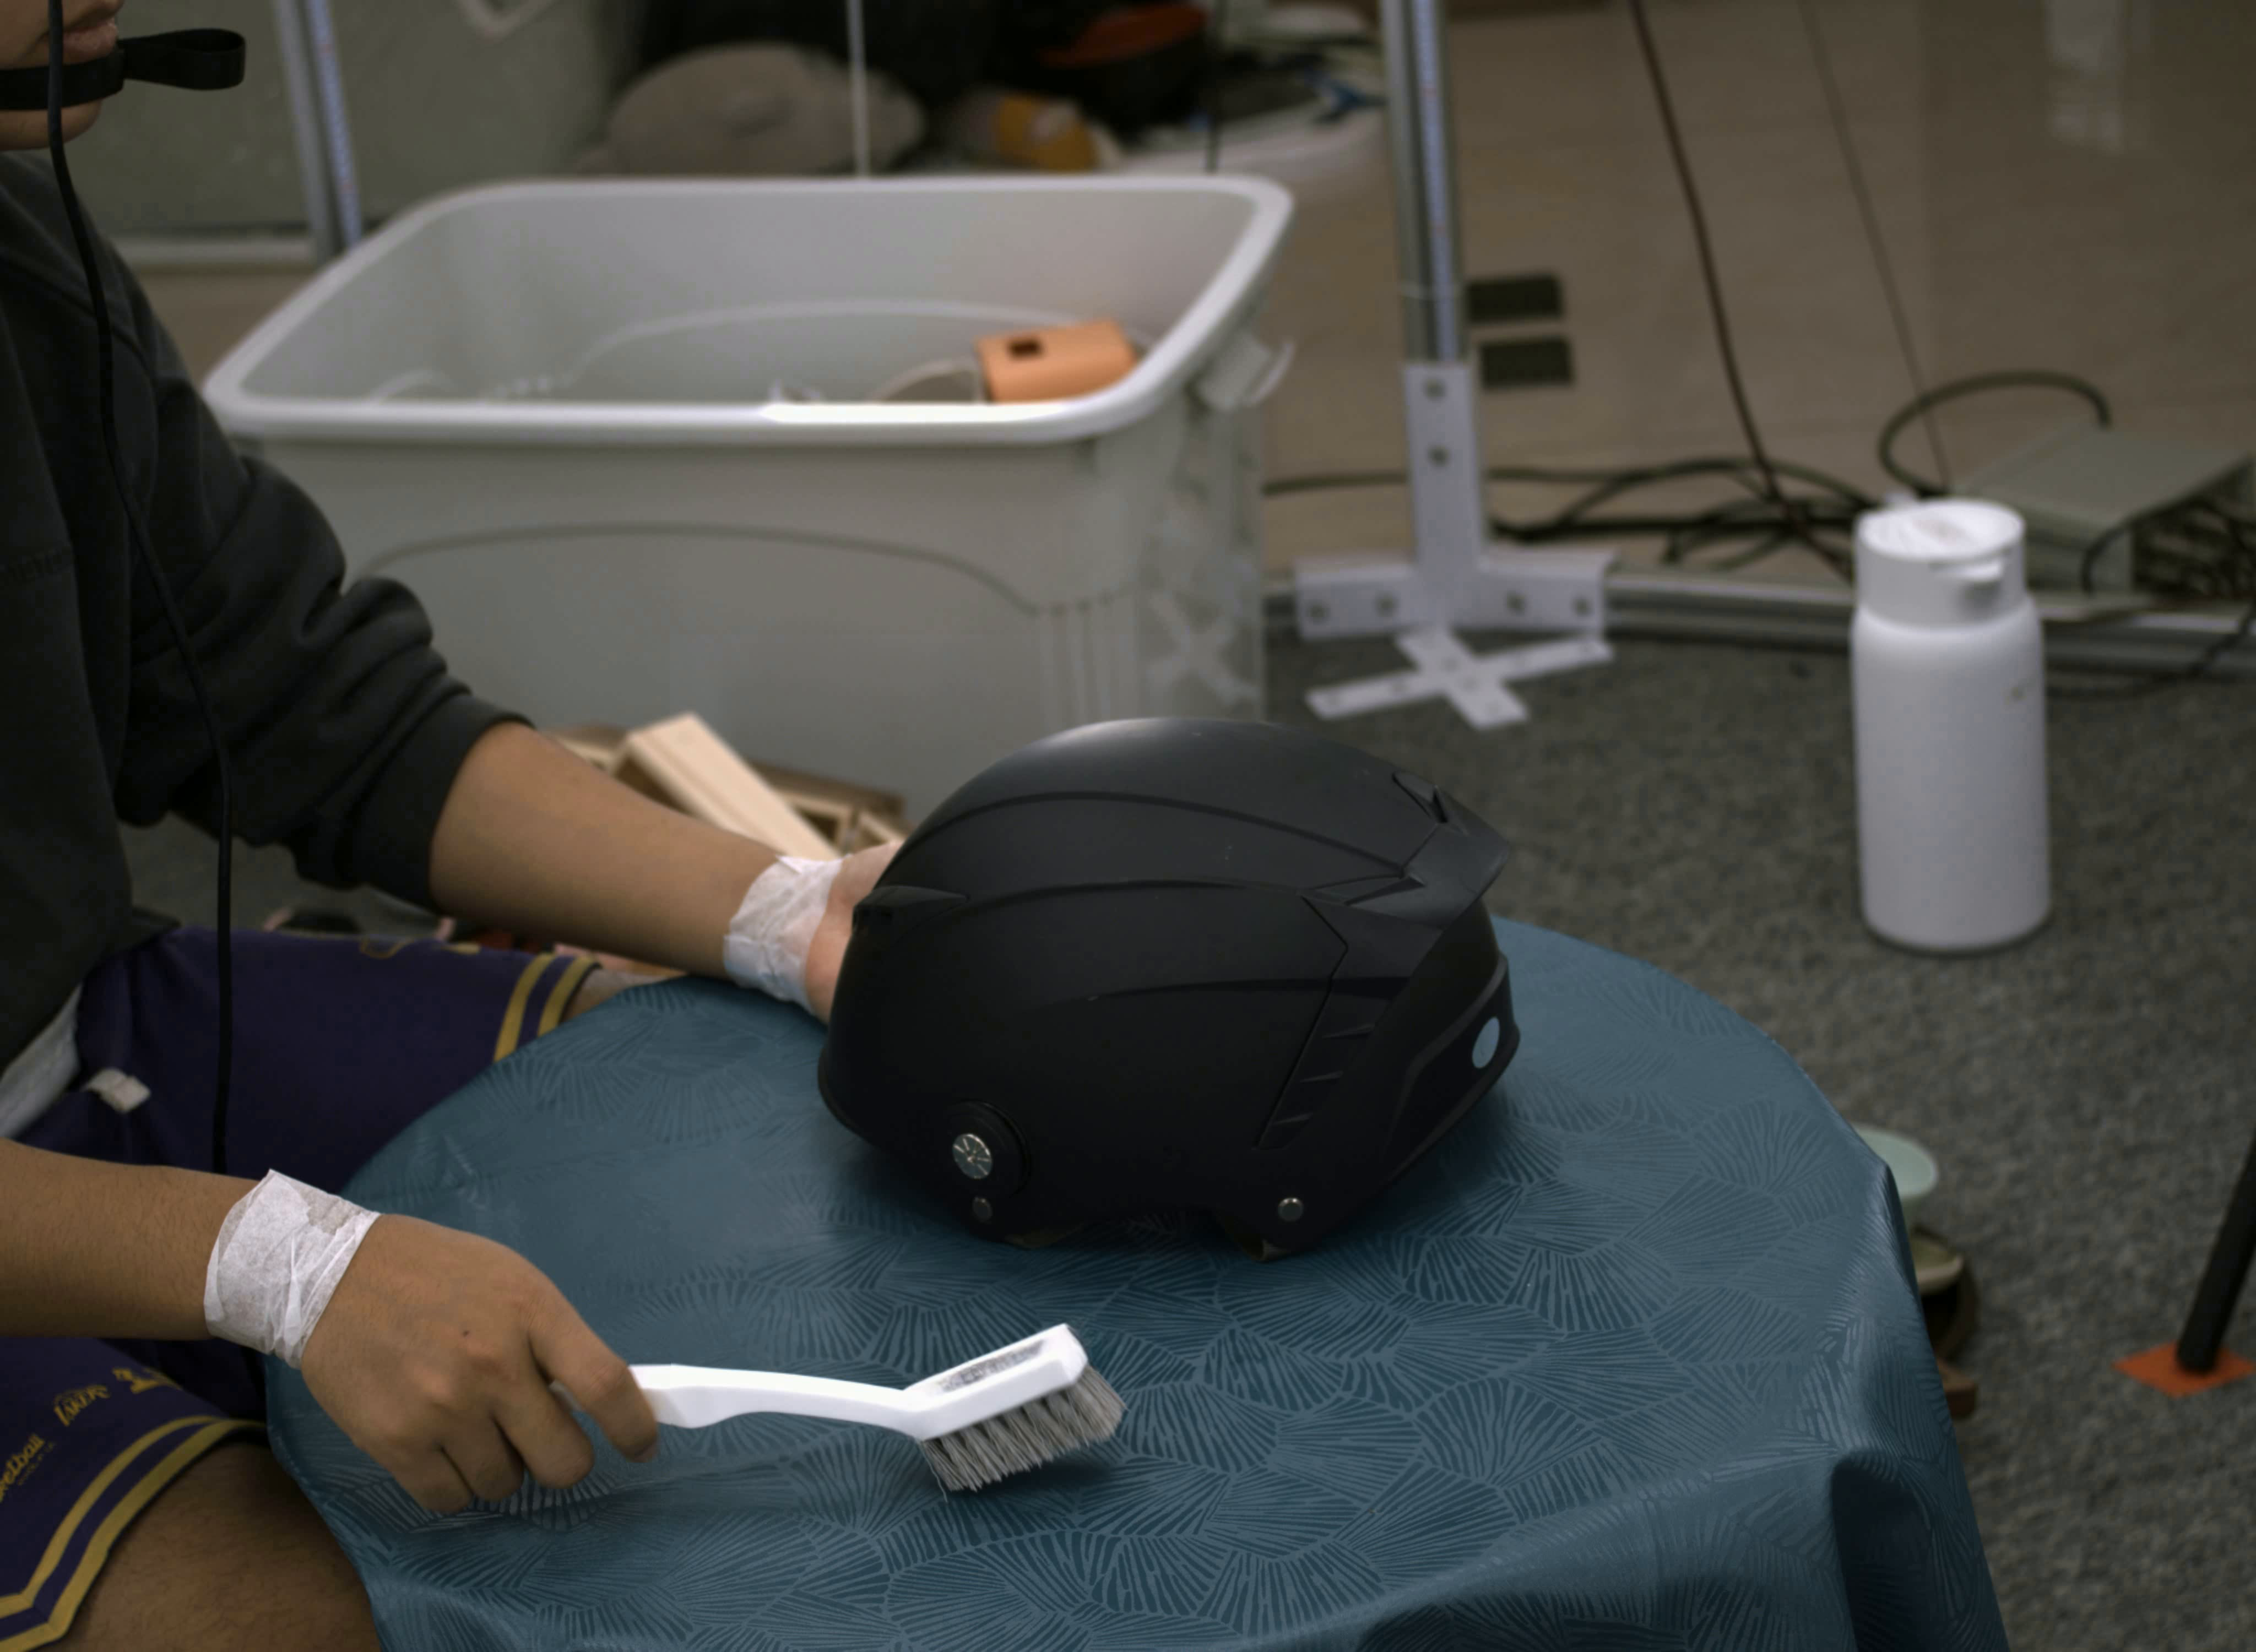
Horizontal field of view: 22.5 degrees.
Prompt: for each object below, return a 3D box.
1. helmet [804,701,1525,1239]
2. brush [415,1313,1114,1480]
[{"bbox_3d":[0.015,0.042,2.155,0.275,0.175,0.243,12,32,24],"label":"helmet"},{"bbox_3d":[-0.126,0.209,1.968,0.243,0.051,0.034,-8,13,5],"label":"brush"}]
